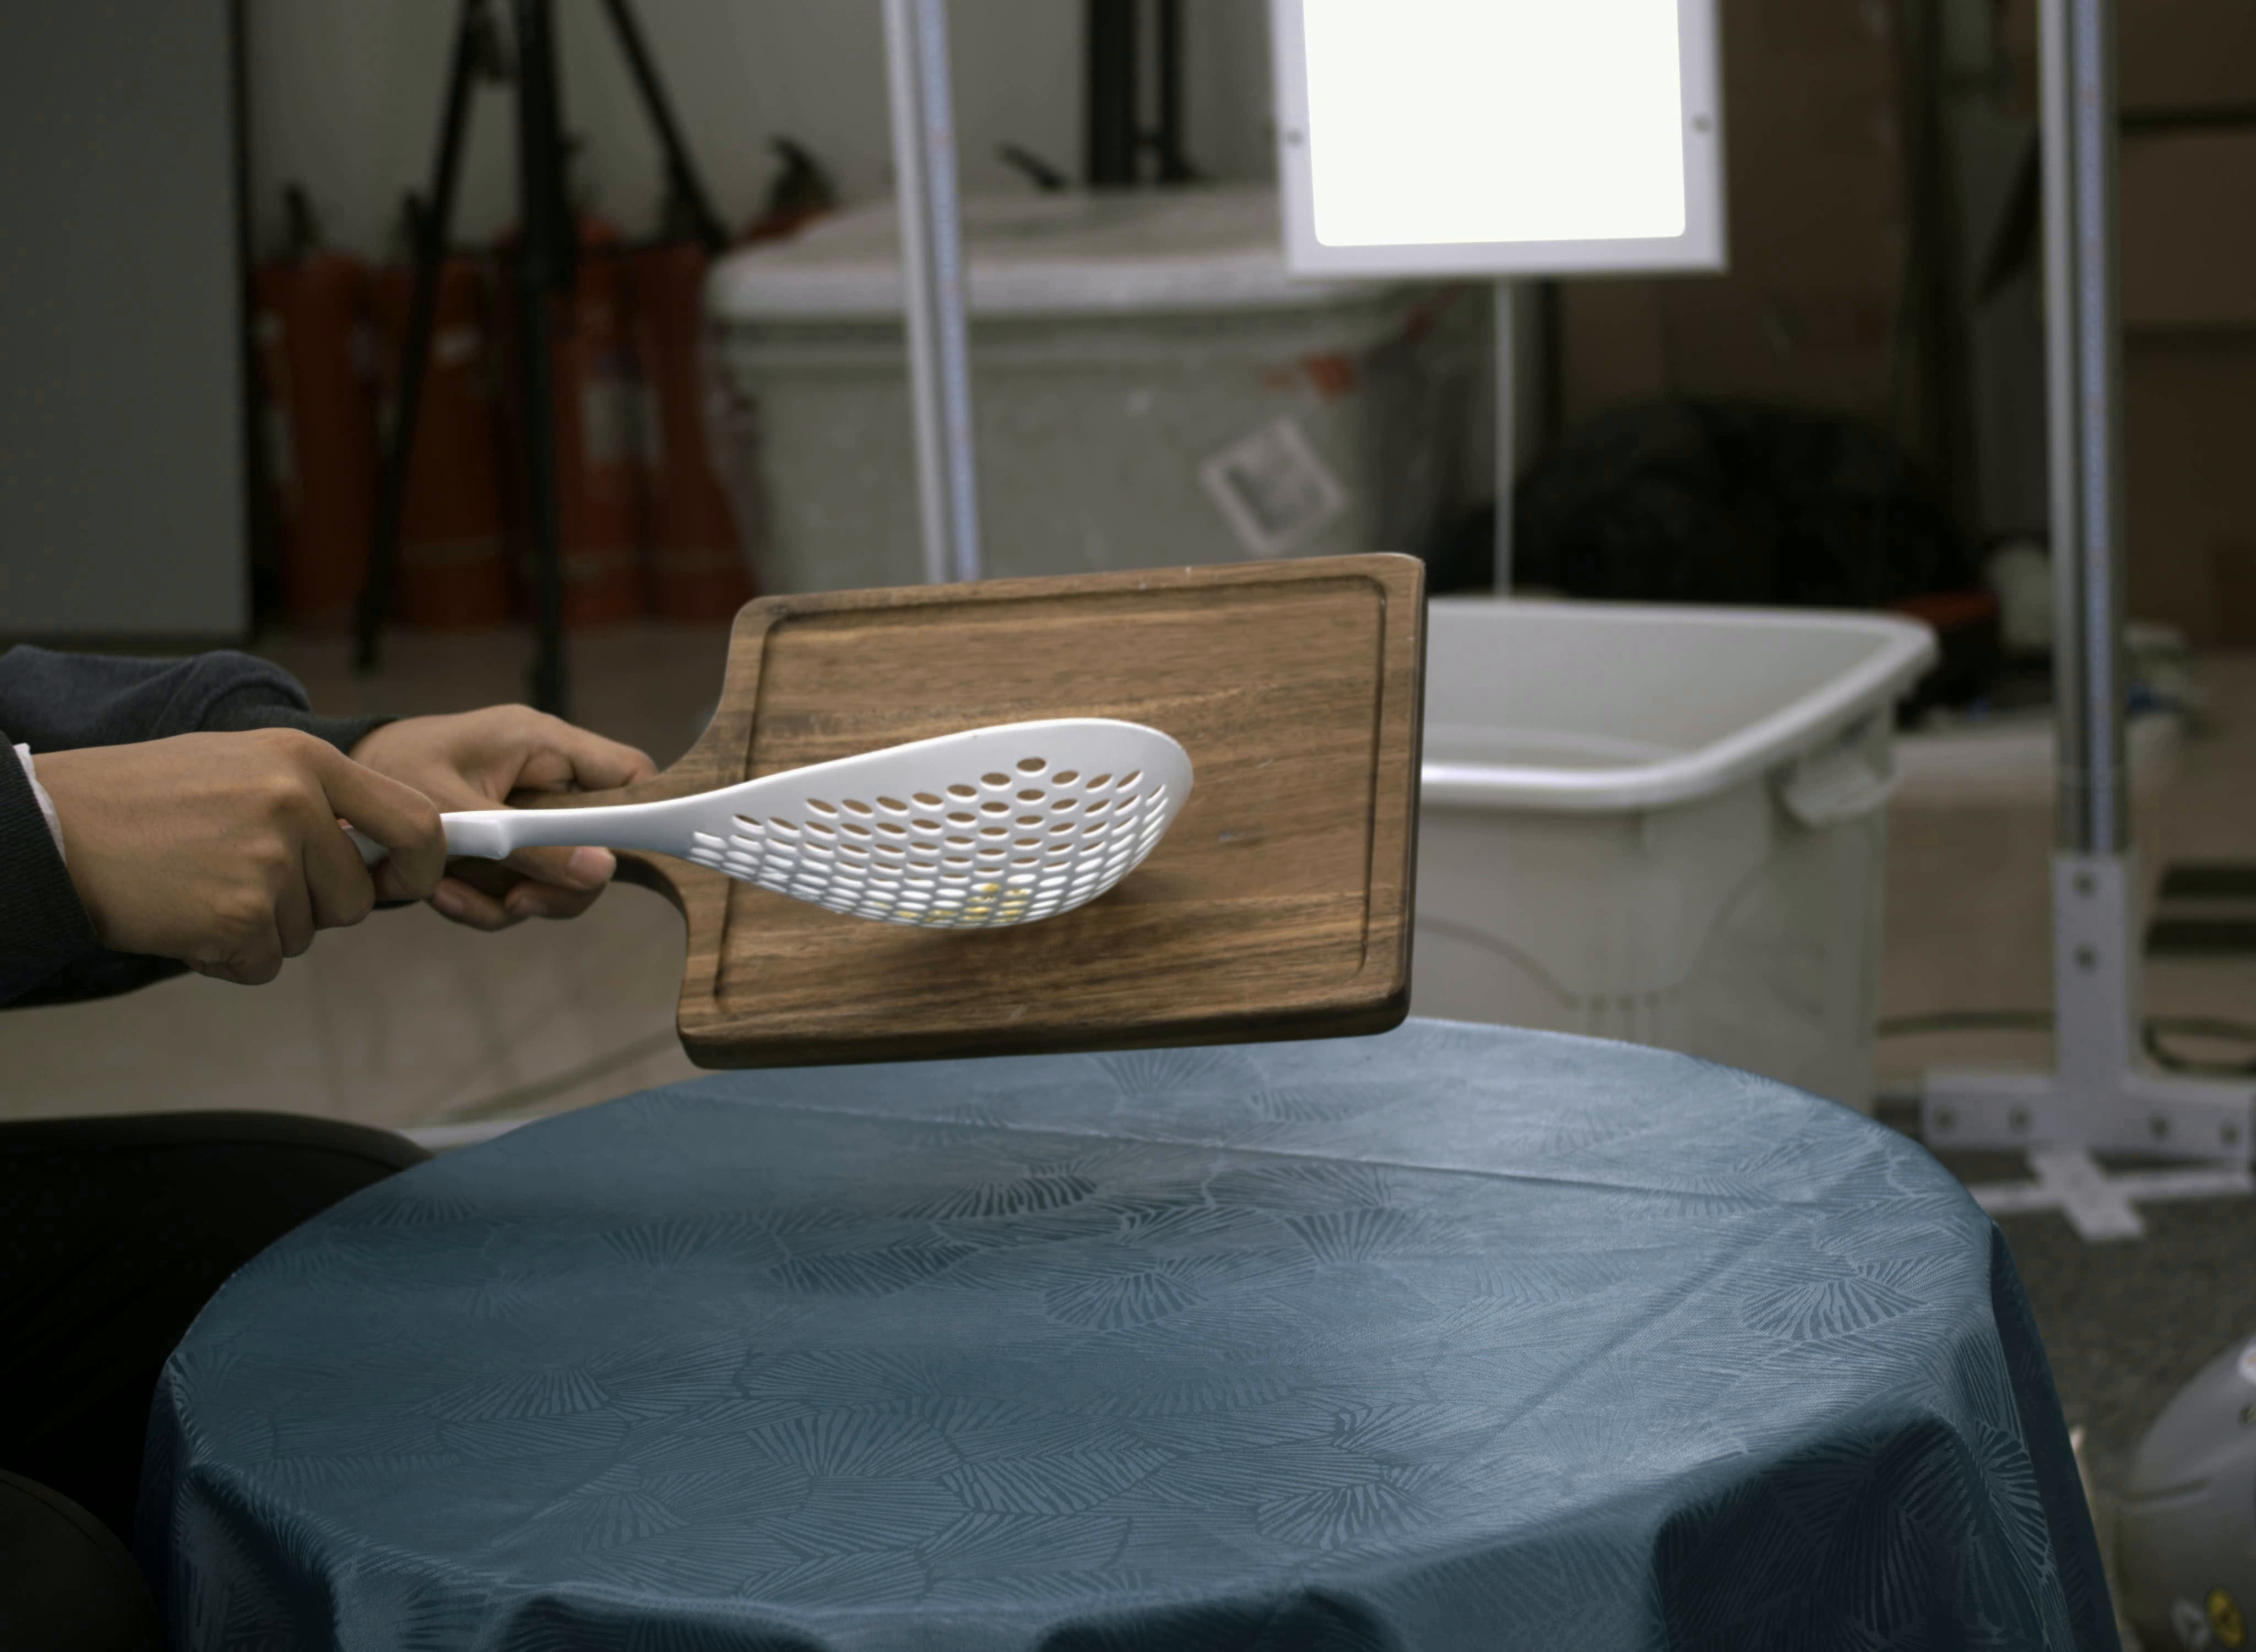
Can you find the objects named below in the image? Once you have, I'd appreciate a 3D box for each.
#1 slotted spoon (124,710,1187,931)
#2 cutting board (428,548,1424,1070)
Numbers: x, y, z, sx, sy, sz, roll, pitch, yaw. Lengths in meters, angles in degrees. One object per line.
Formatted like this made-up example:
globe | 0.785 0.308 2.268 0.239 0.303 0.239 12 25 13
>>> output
slotted spoon | -0.149 0.007 1.779 0.343 0.050 0.138 1 -23 -13
cutting board | -0.072 -0.005 1.906 0.355 0.023 0.200 -4 52 13
